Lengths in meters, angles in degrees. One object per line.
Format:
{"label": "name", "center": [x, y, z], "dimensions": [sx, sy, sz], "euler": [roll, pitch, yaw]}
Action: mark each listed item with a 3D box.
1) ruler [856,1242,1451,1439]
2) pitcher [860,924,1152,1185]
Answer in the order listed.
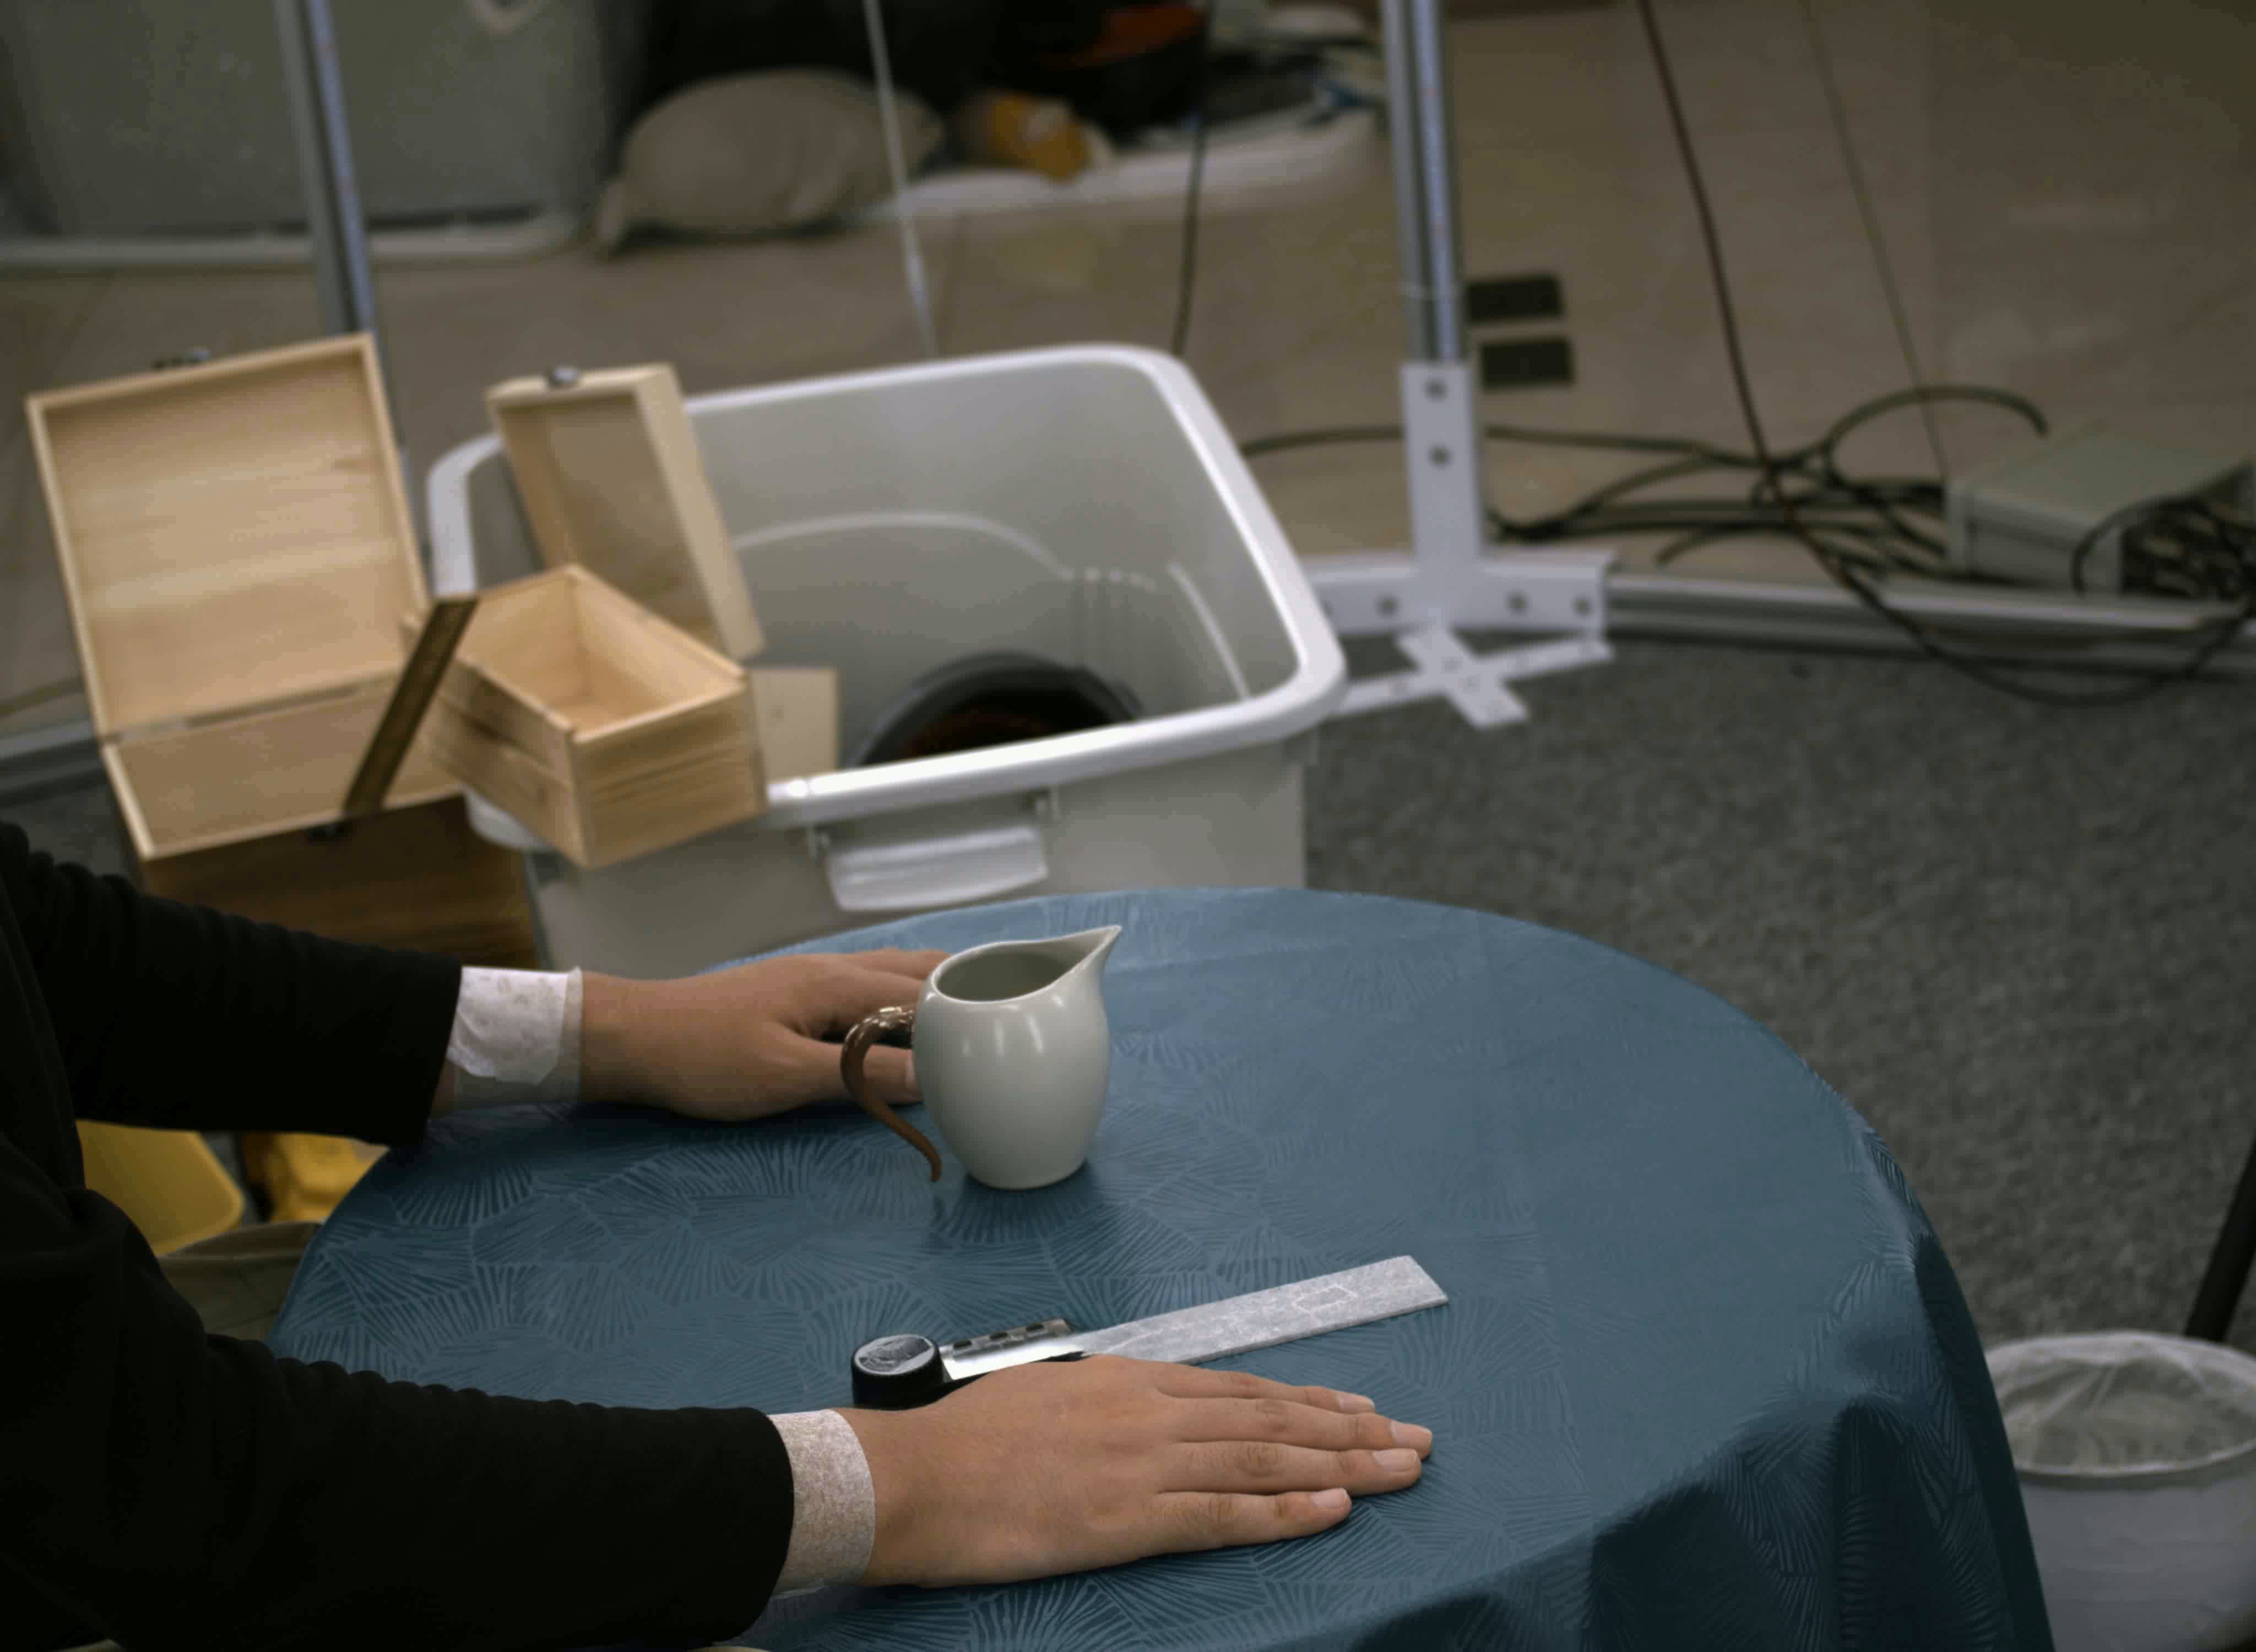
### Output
{"label": "ruler", "center": [0.008, 0.178, 2.035], "dimensions": [0.217, 0.024, 0.038], "euler": [-13, 33, -11]}
{"label": "pitcher", "center": [-0.043, 0.090, 2.159], "dimensions": [0.119, 0.089, 0.075], "euler": [-11, 22, -14]}
